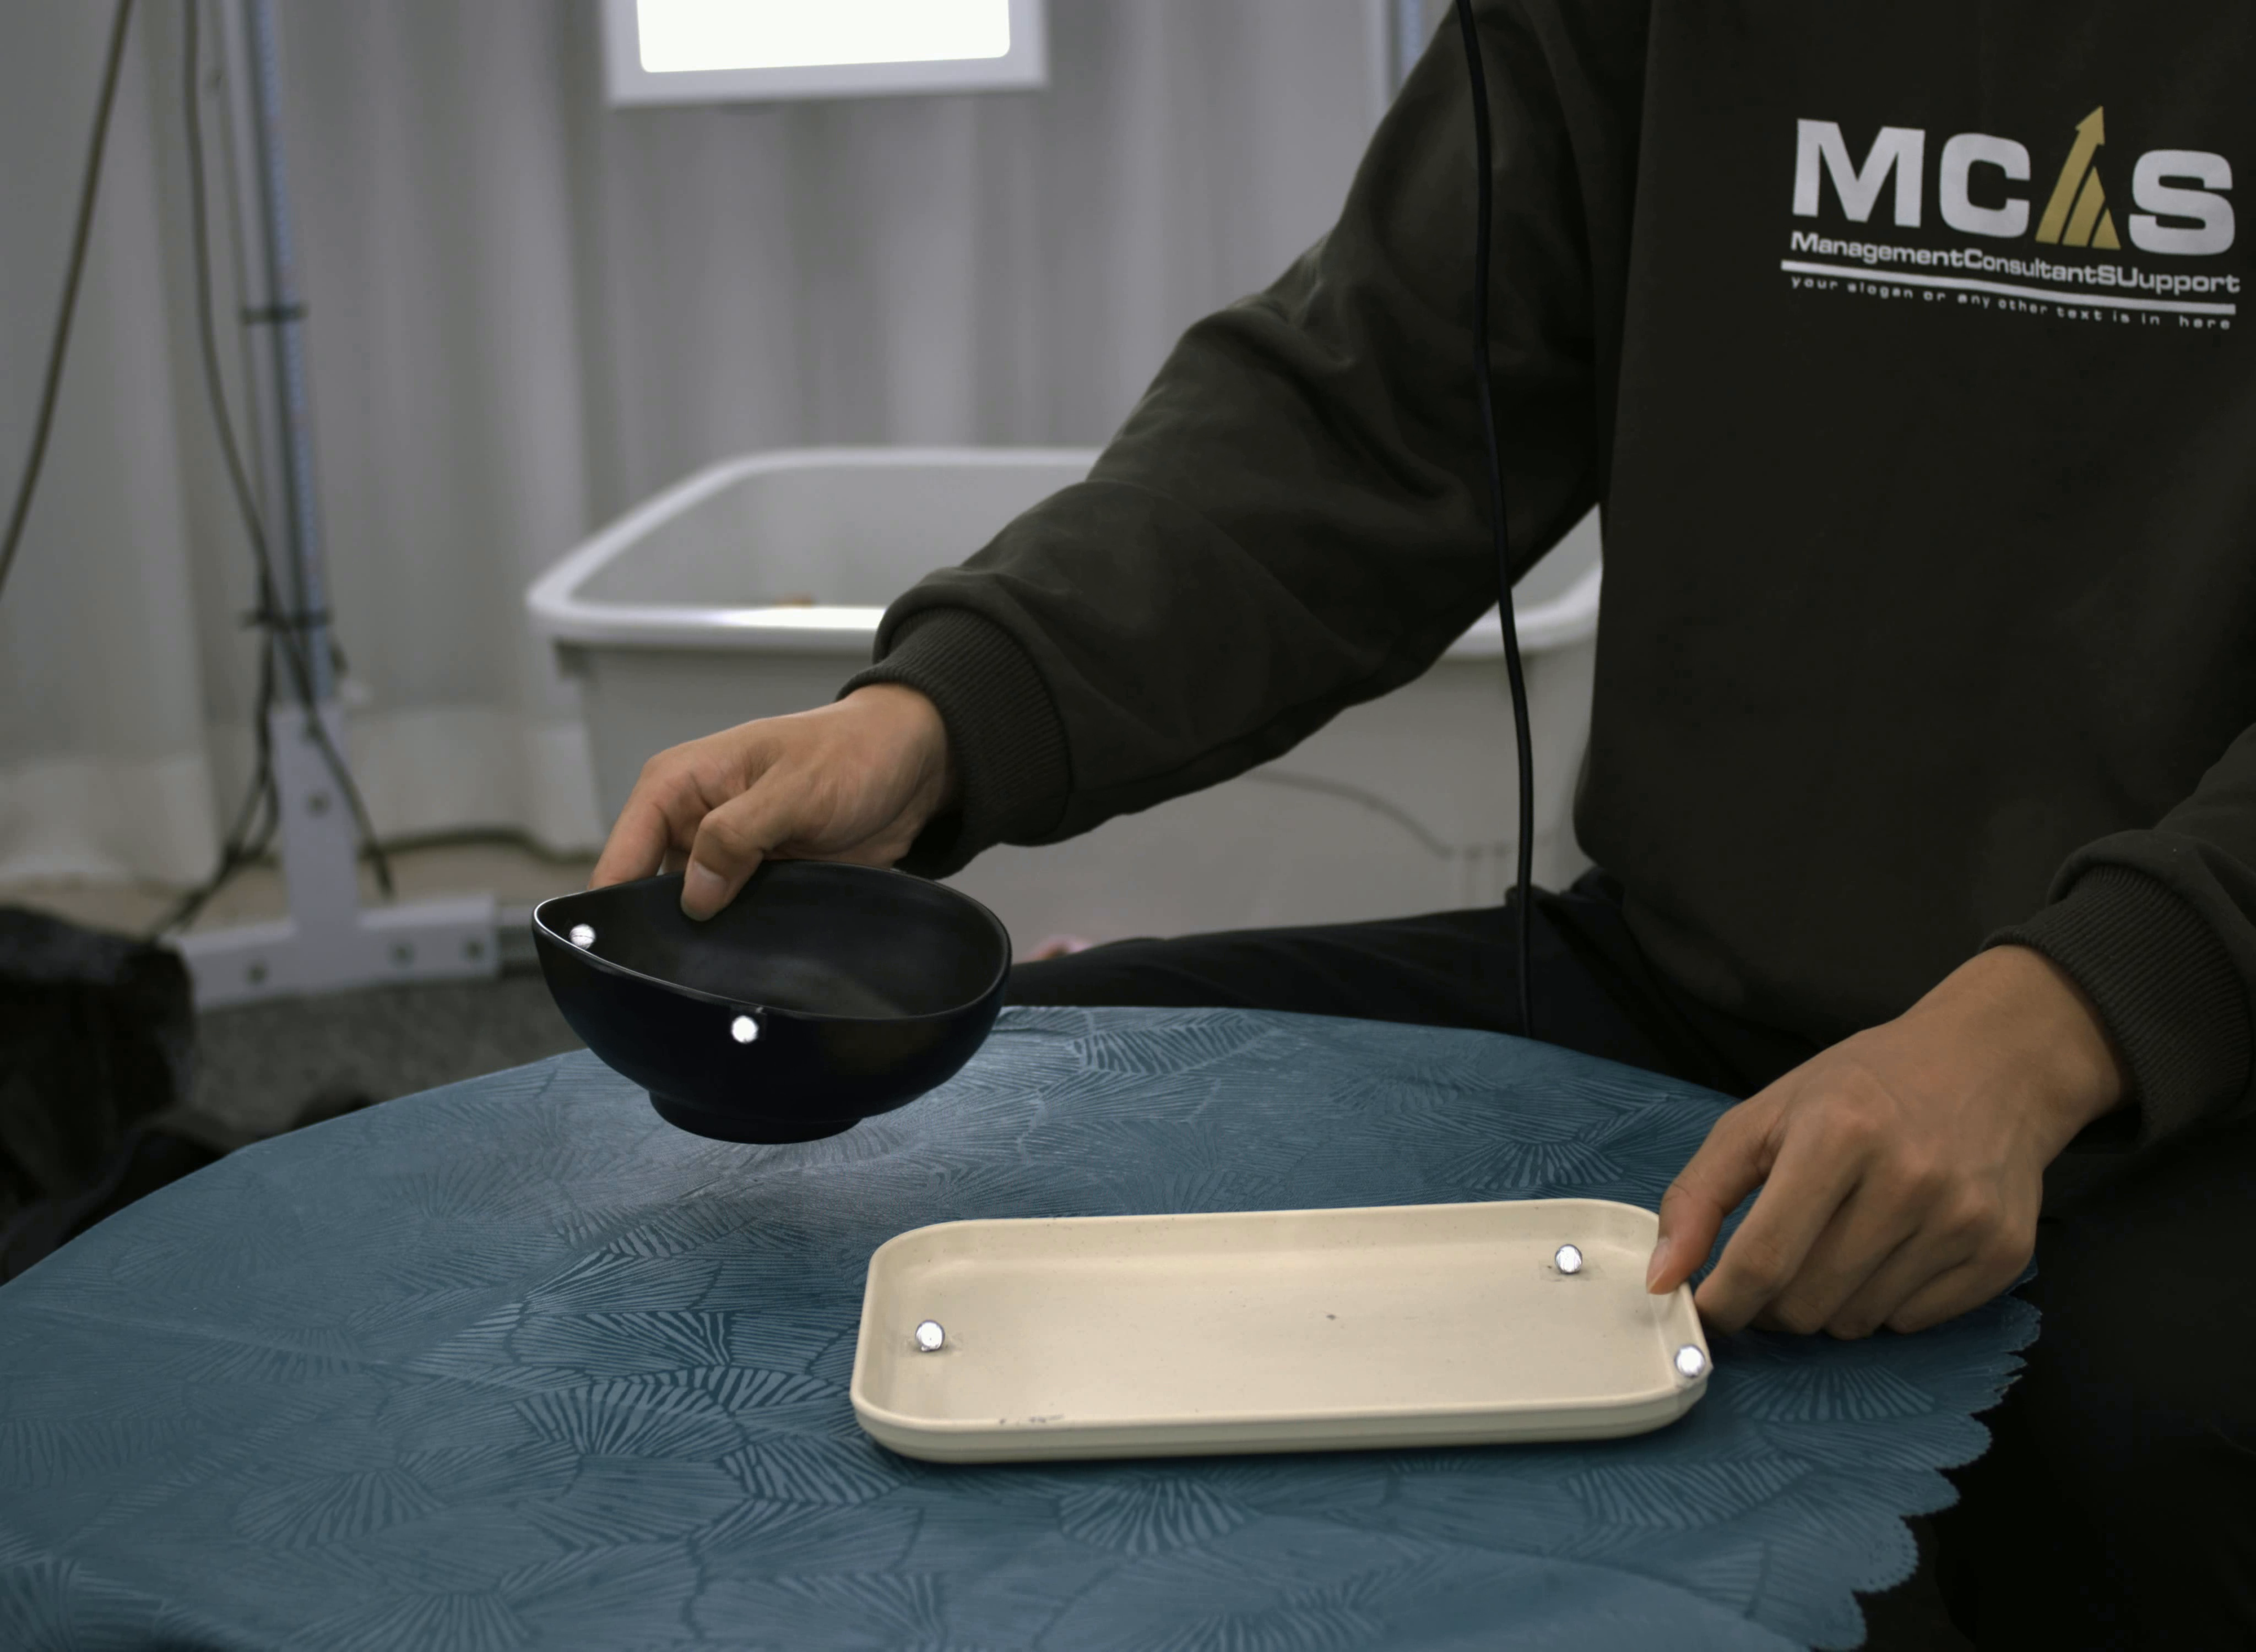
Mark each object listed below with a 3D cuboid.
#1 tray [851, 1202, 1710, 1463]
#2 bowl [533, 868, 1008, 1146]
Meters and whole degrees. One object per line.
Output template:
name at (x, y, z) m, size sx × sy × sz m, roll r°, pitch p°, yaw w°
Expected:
tray at (0.042, 0.145, 1.564) m, size 0.239 × 0.017 × 0.172 m, roll -2°, pitch 14°, yaw 1°
bowl at (-0.115, 0.060, 1.710) m, size 0.137 × 0.066 × 0.171 m, roll -11°, pitch 21°, yaw -42°
